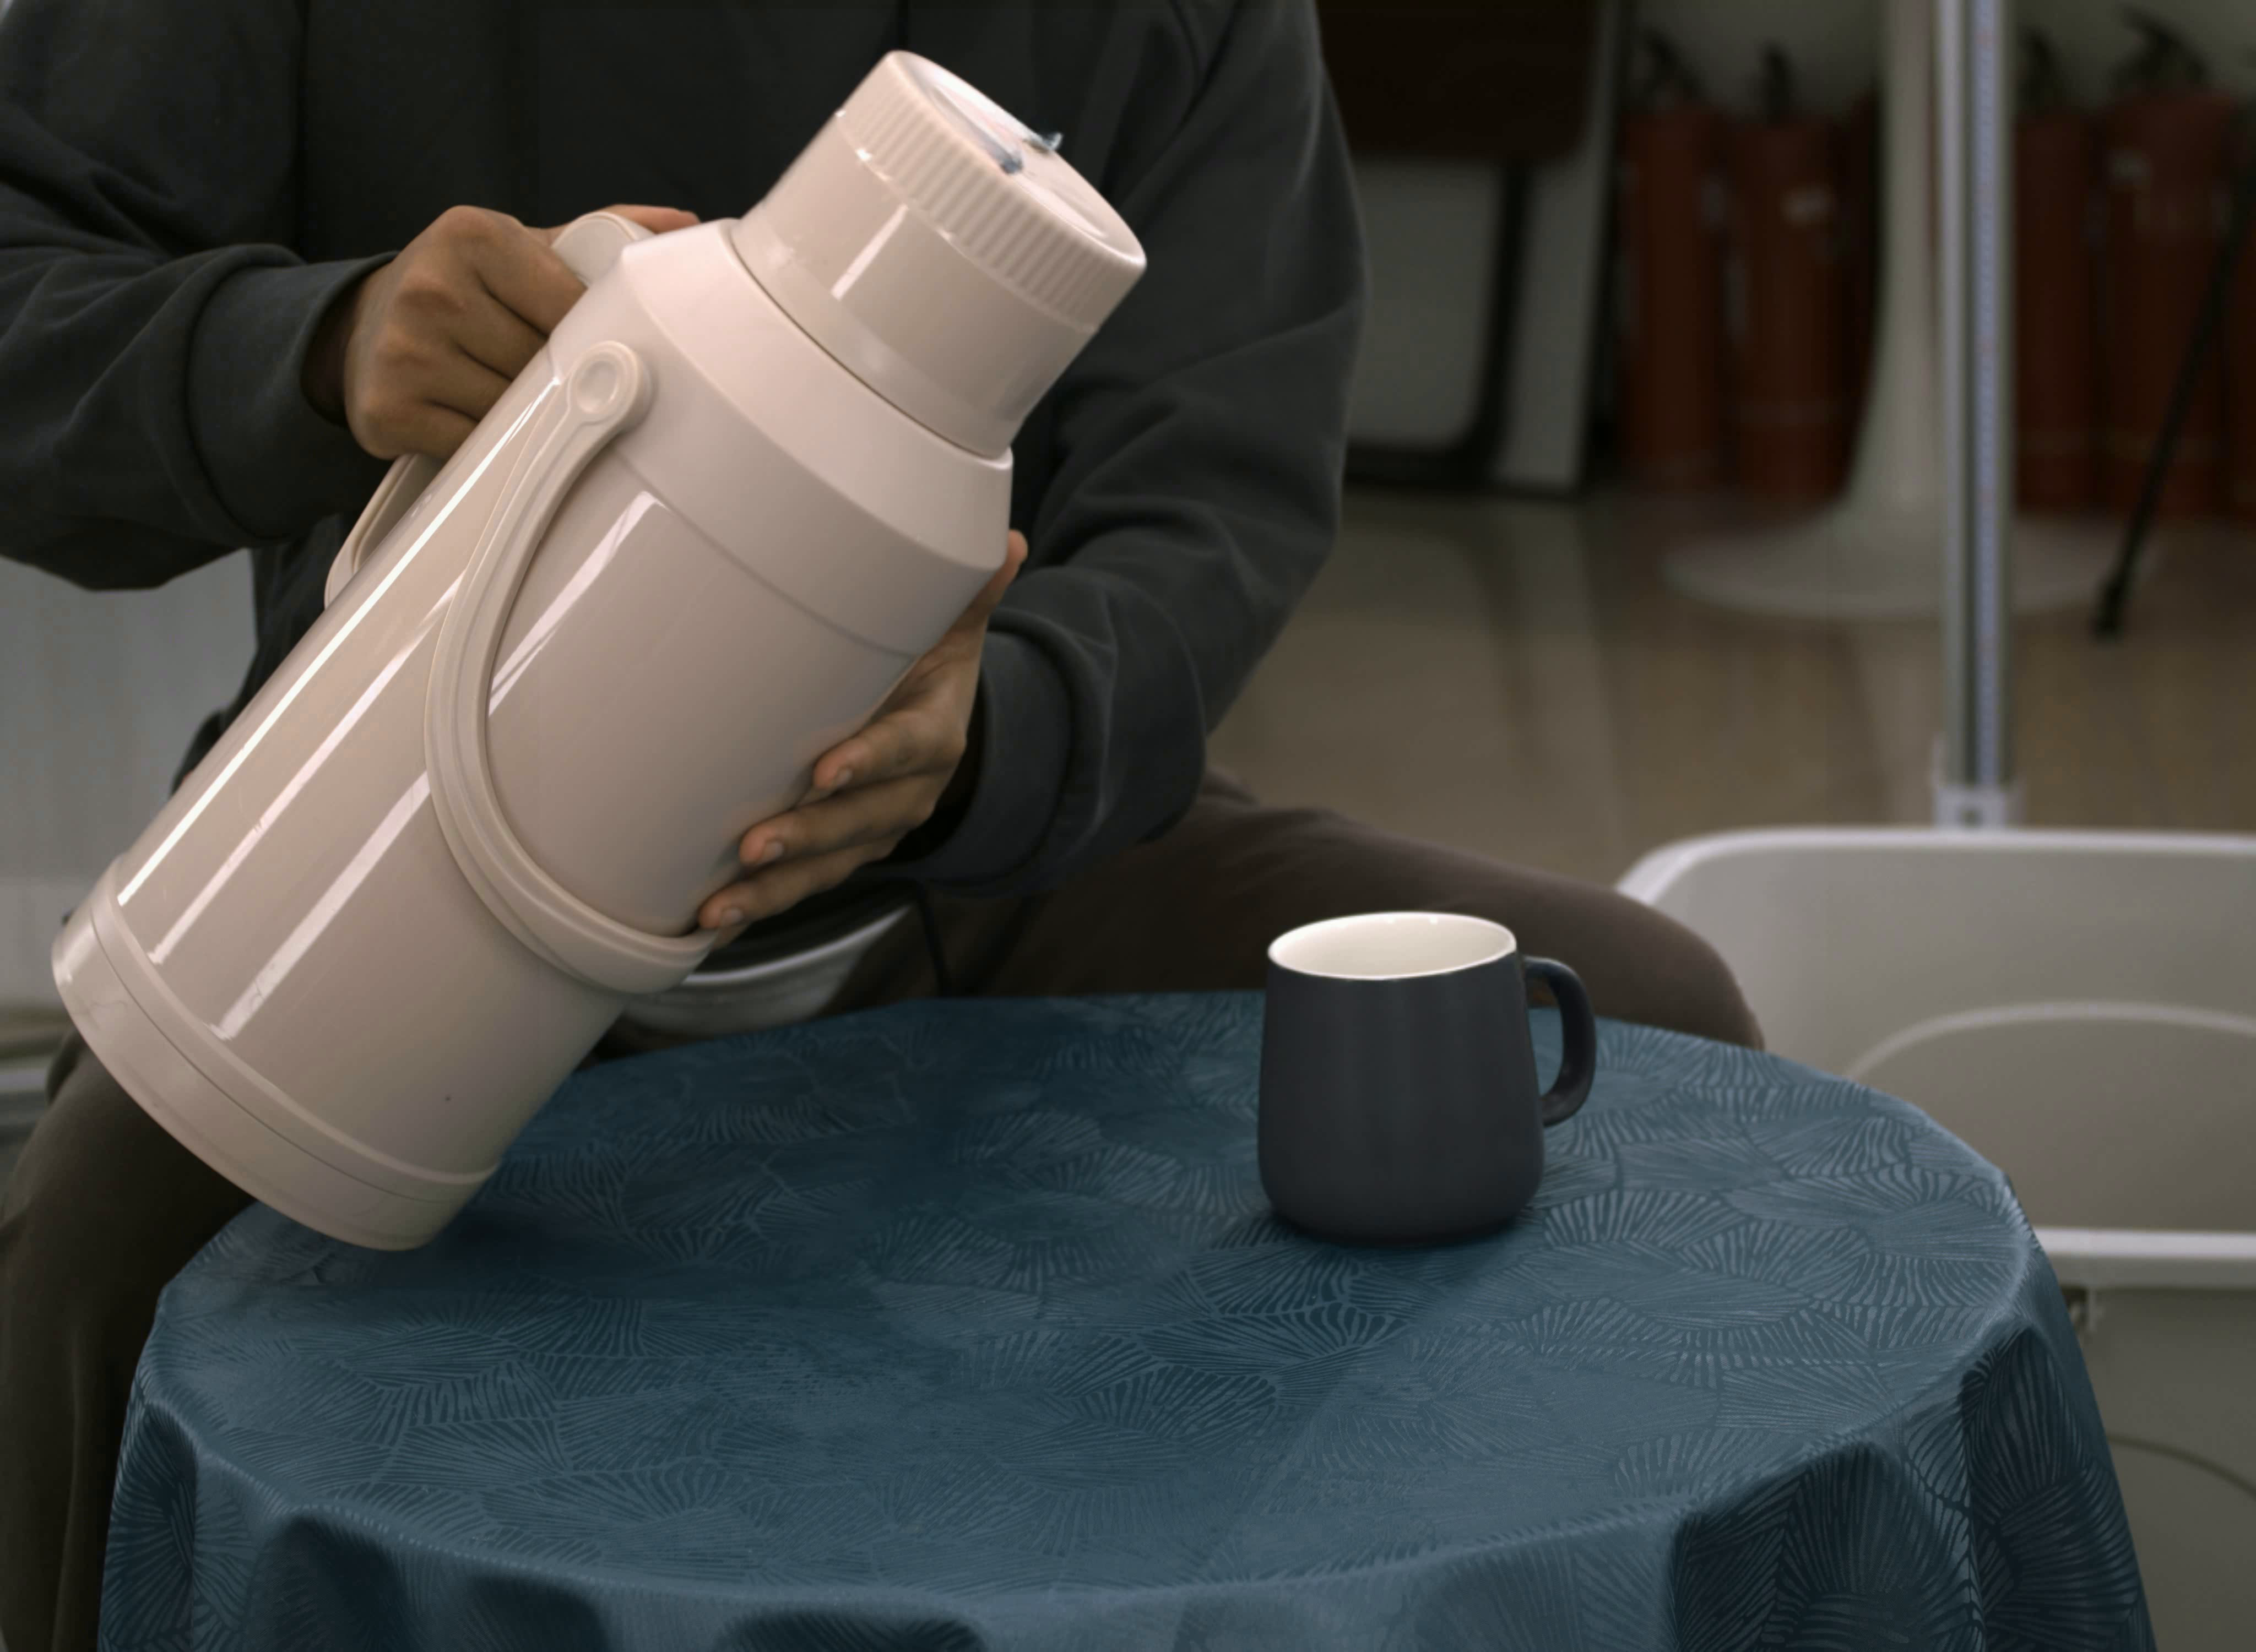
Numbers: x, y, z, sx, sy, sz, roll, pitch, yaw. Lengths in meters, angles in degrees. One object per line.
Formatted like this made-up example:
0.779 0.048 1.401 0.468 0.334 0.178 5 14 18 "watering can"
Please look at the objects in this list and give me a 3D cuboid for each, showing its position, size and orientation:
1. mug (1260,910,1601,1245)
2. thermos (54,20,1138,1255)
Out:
0.100 0.078 1.732 0.120 0.091 0.094 -11 15 -27 "mug"
-0.168 -0.072 1.722 0.172 0.409 0.209 19 25 -54 "thermos"
